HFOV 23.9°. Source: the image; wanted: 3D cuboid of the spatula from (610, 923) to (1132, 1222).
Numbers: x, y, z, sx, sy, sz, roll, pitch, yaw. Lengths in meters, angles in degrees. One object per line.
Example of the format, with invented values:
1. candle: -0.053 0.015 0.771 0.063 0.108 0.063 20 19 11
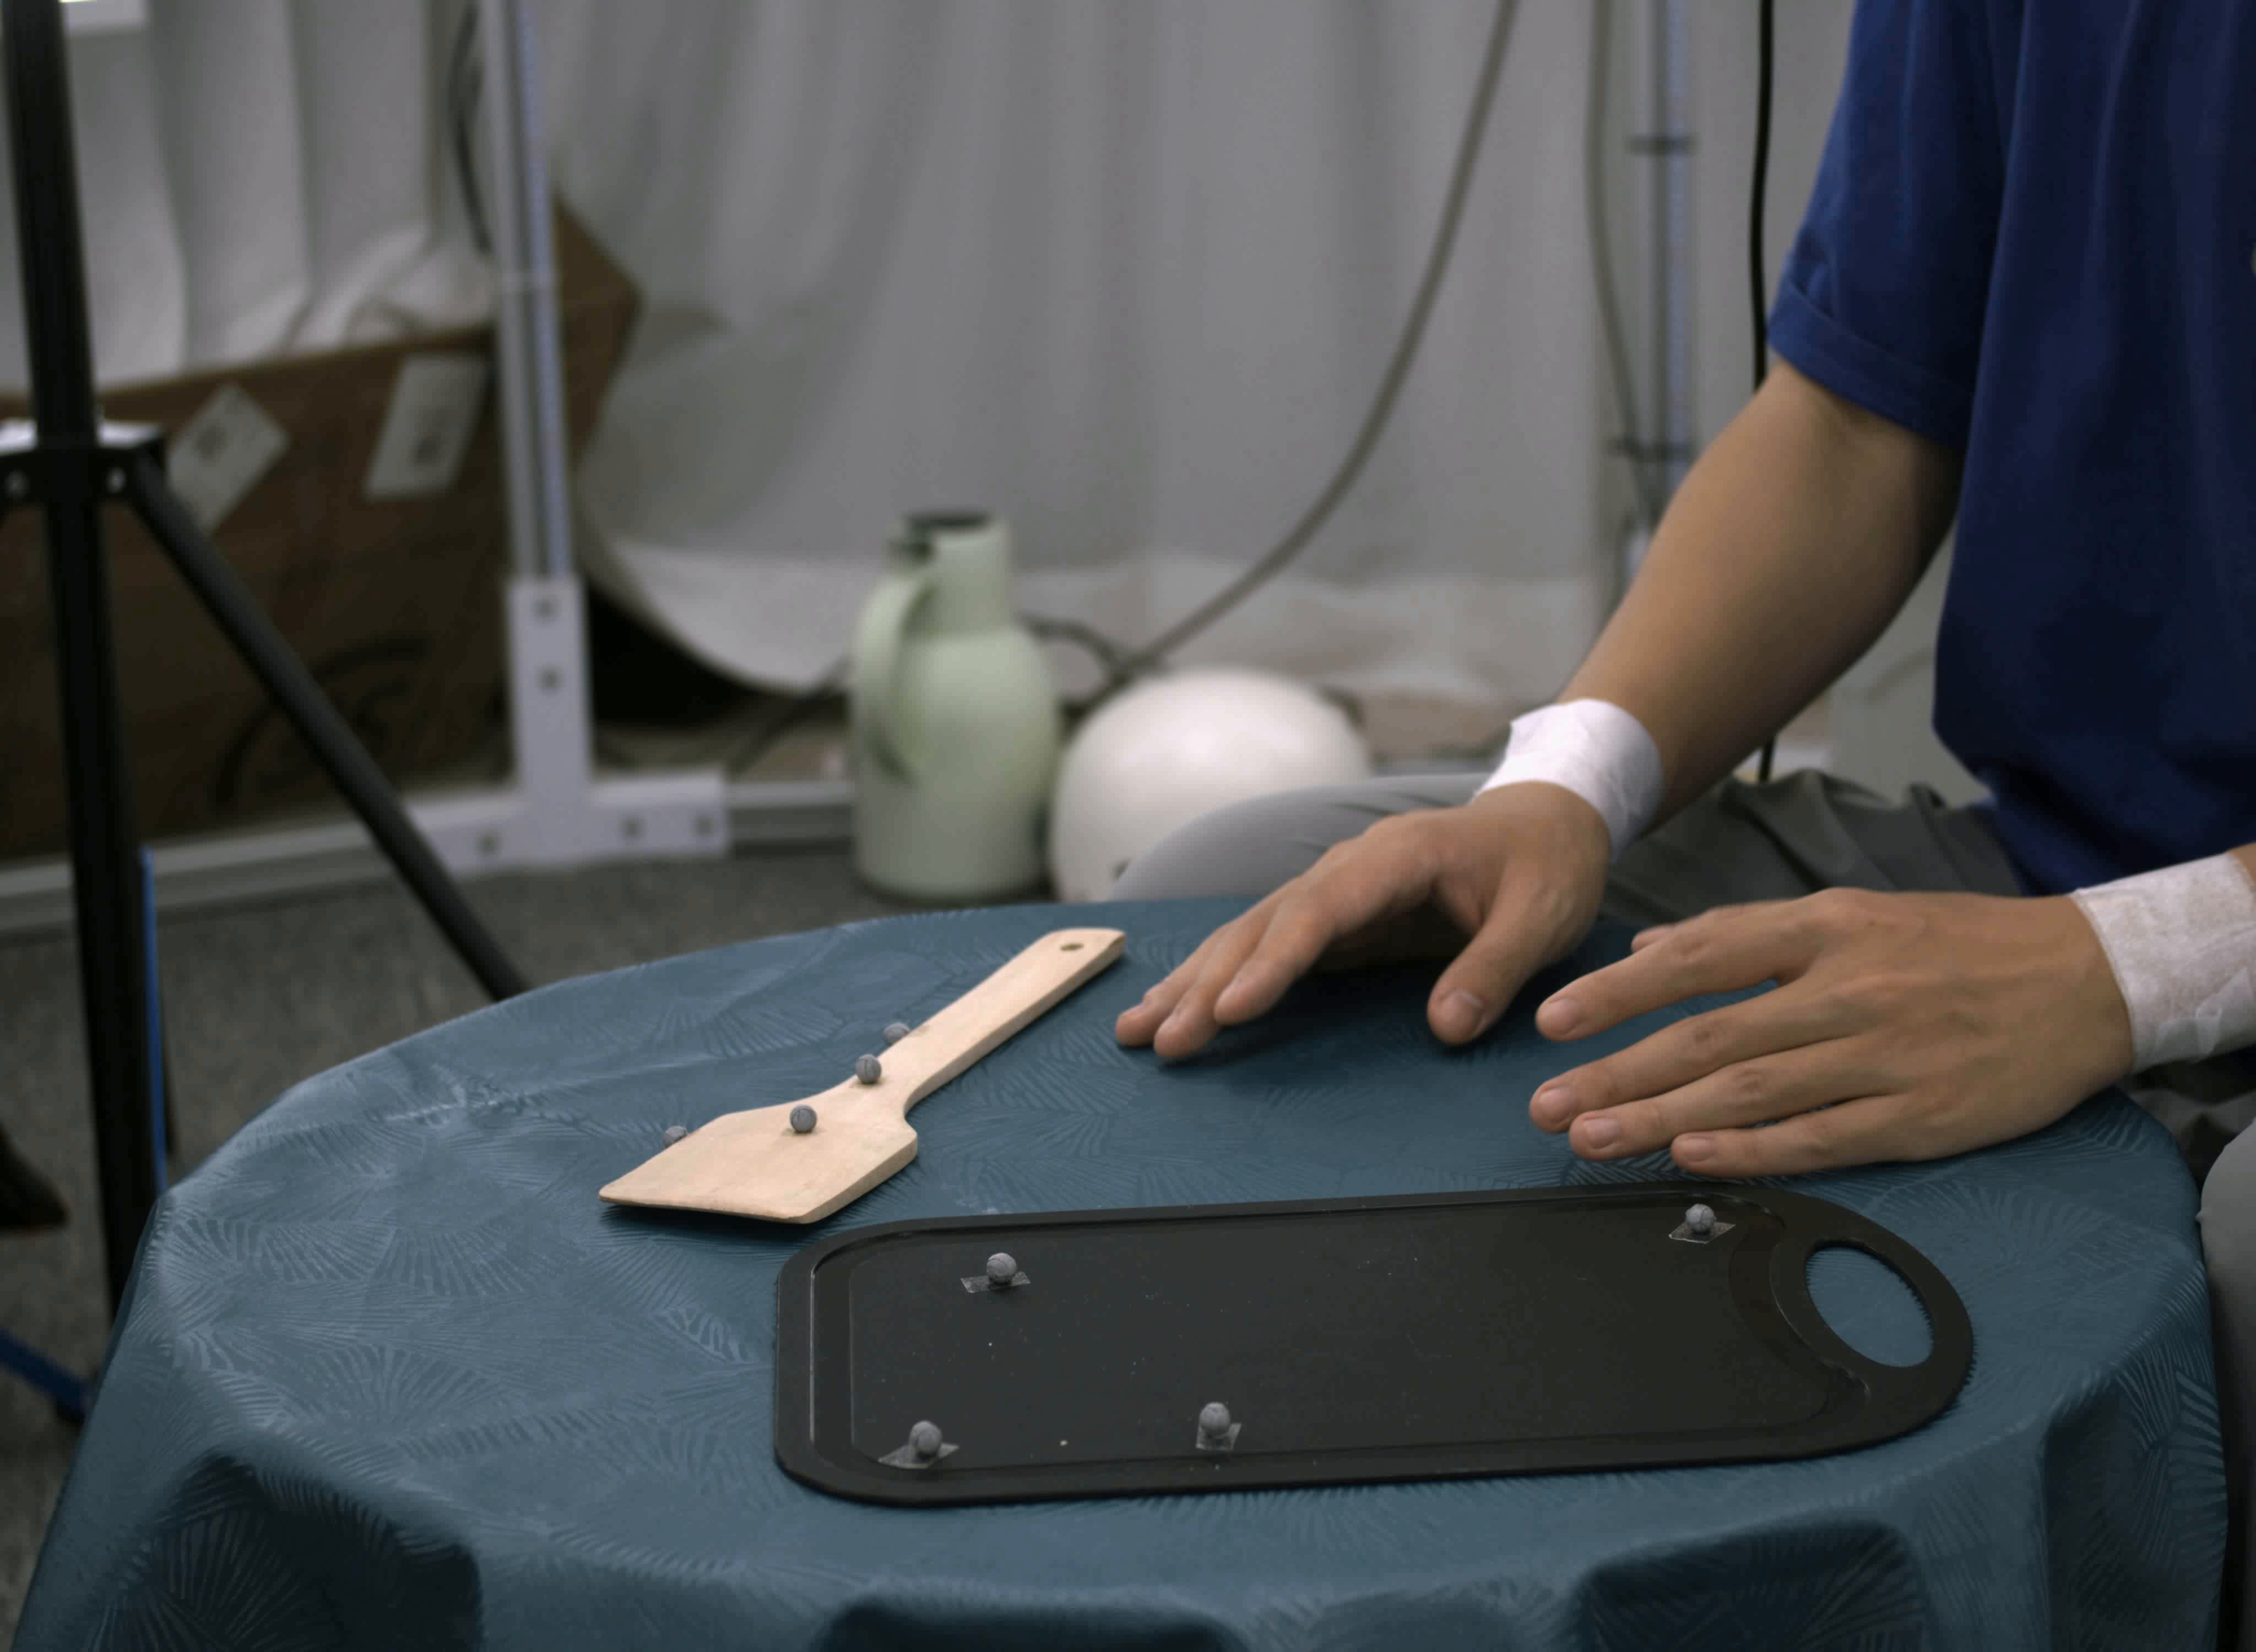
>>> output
1. spatula: -0.066 0.074 1.670 0.073 0.010 0.289 3 17 24

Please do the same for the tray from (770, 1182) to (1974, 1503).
1. tray: 0.066 0.136 1.437 0.324 0.010 0.212 -2 16 0
